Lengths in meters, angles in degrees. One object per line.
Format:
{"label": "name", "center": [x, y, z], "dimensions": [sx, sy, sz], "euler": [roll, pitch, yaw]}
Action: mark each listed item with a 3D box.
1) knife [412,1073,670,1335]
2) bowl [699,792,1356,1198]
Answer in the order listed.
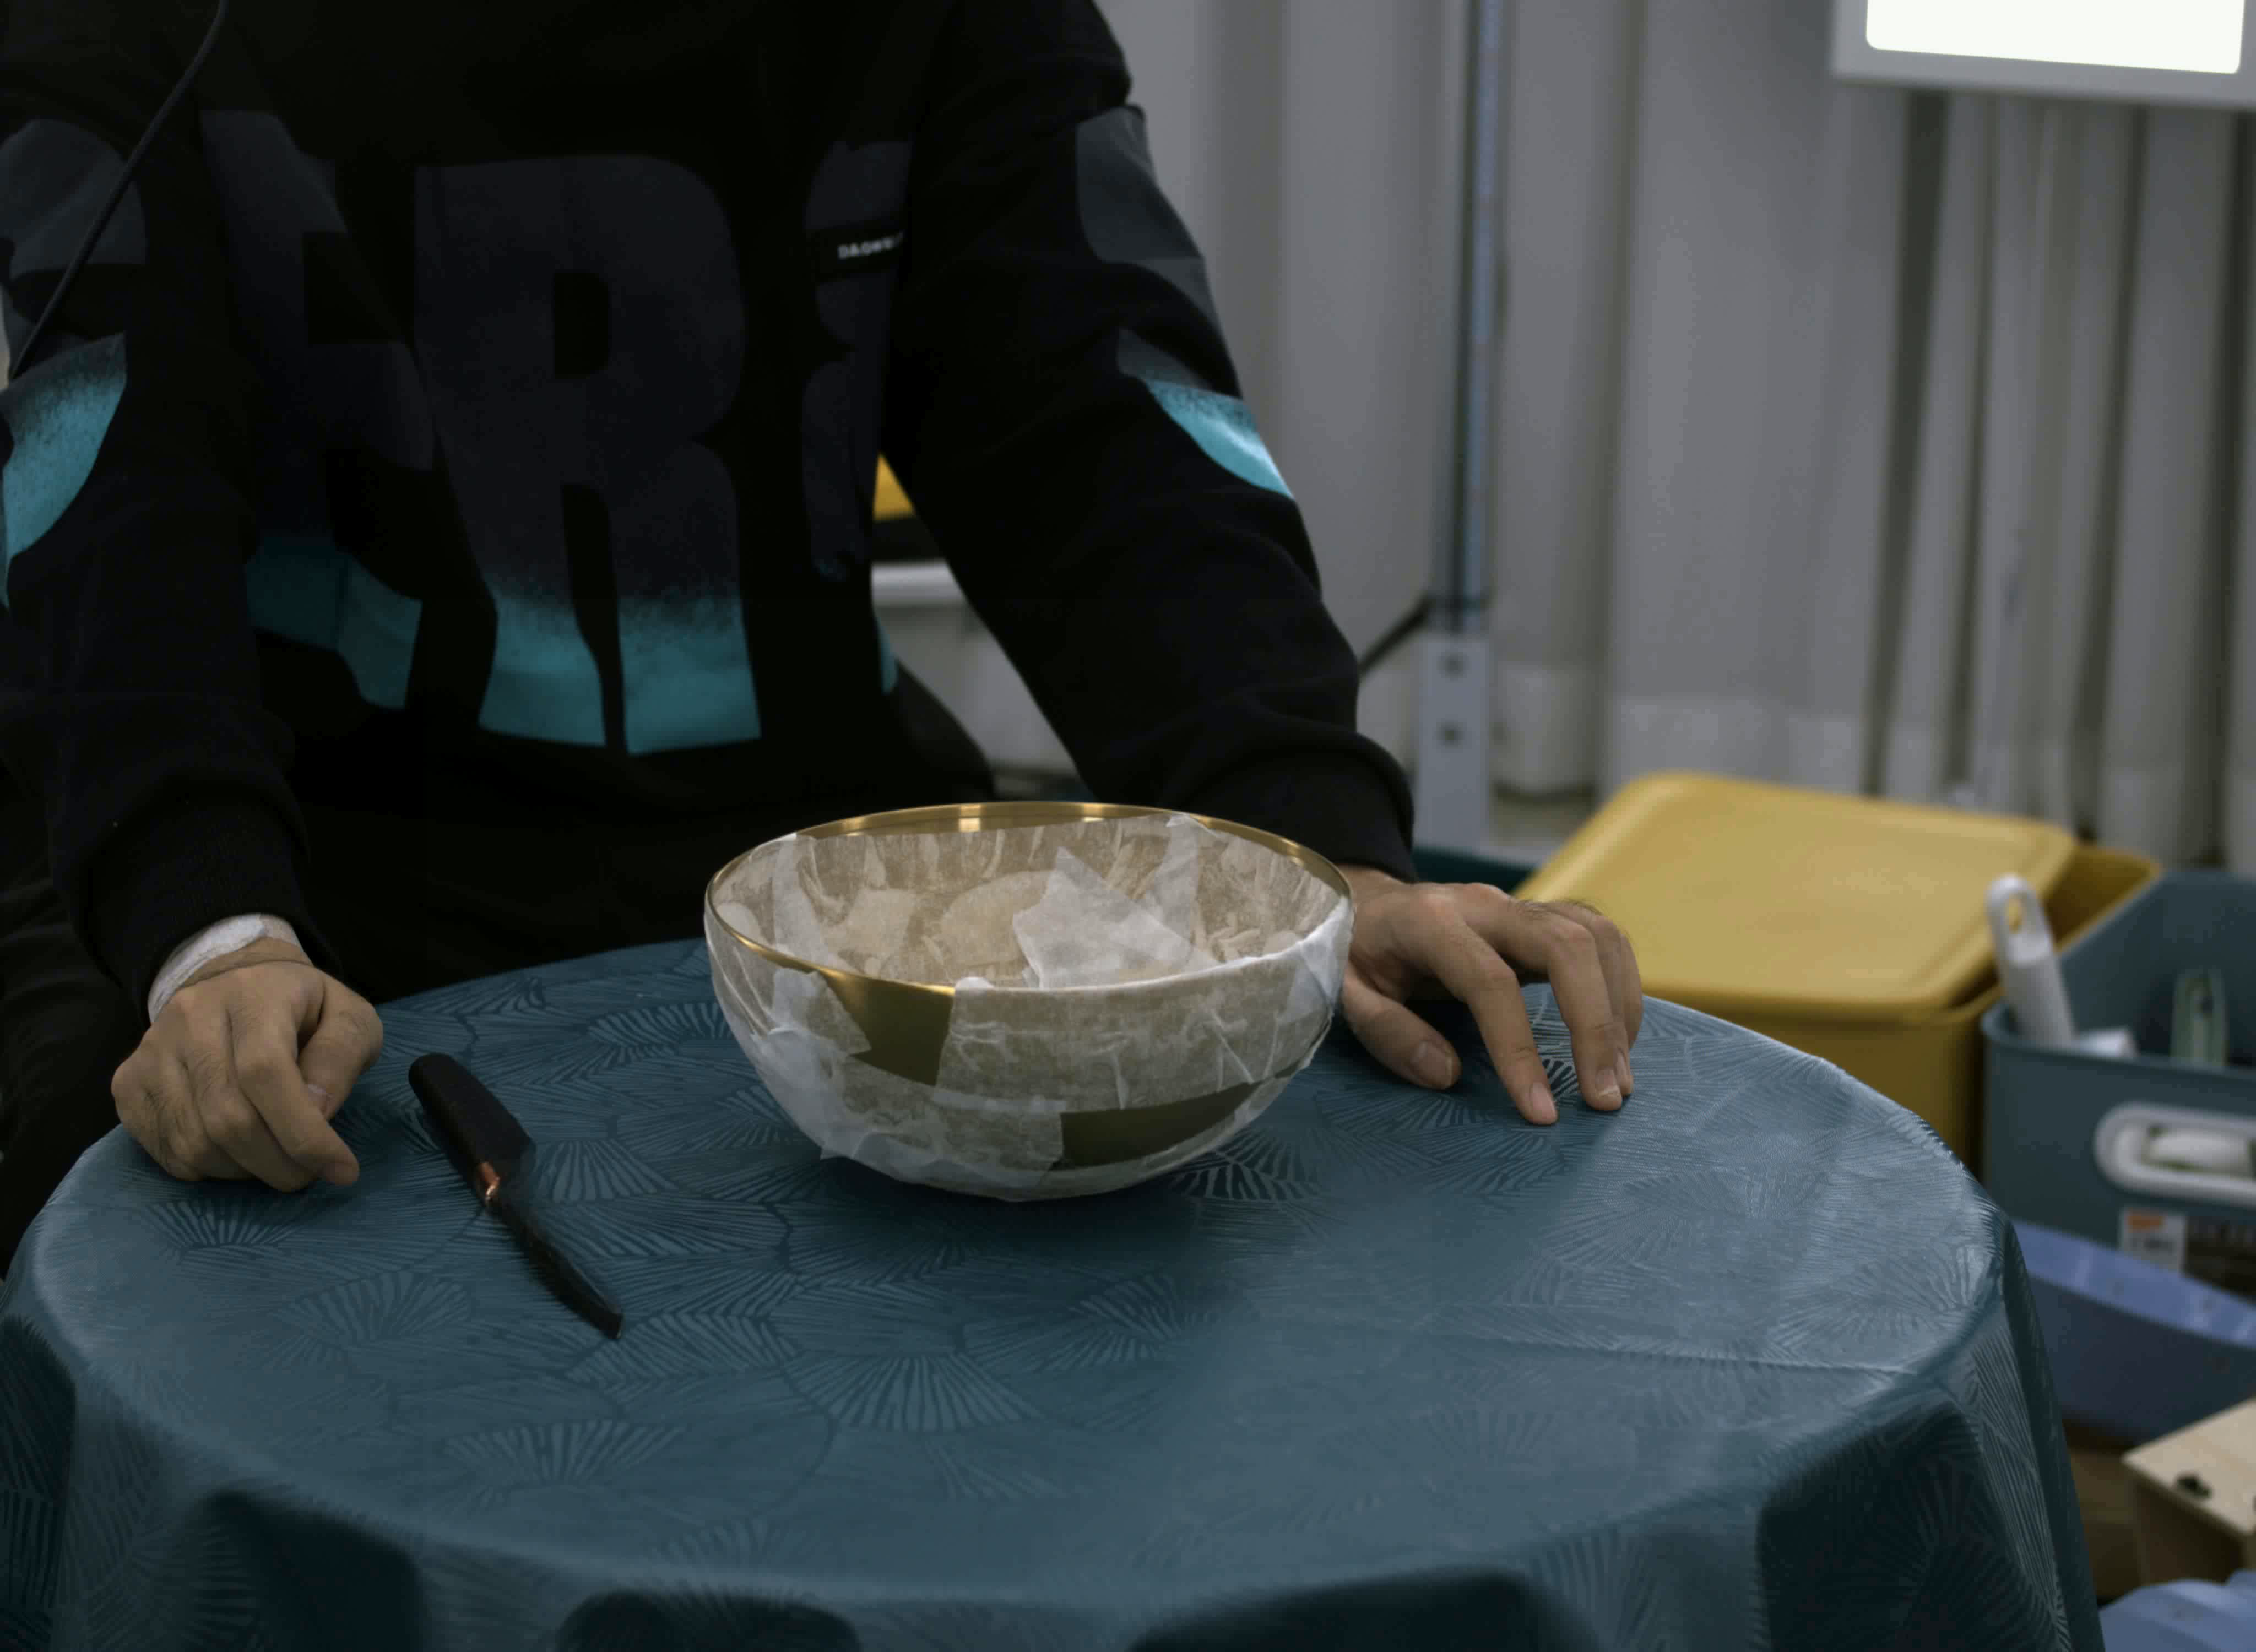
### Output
{"label": "knife", "center": [-0.180, 0.114, 1.594], "dimensions": [0.026, 0.017, 0.223], "euler": [1, 15, -24]}
{"label": "bowl", "center": [-0.031, 0.059, 1.634], "dimensions": [0.214, 0.095, 0.213], "euler": [-1, 17, 1]}
